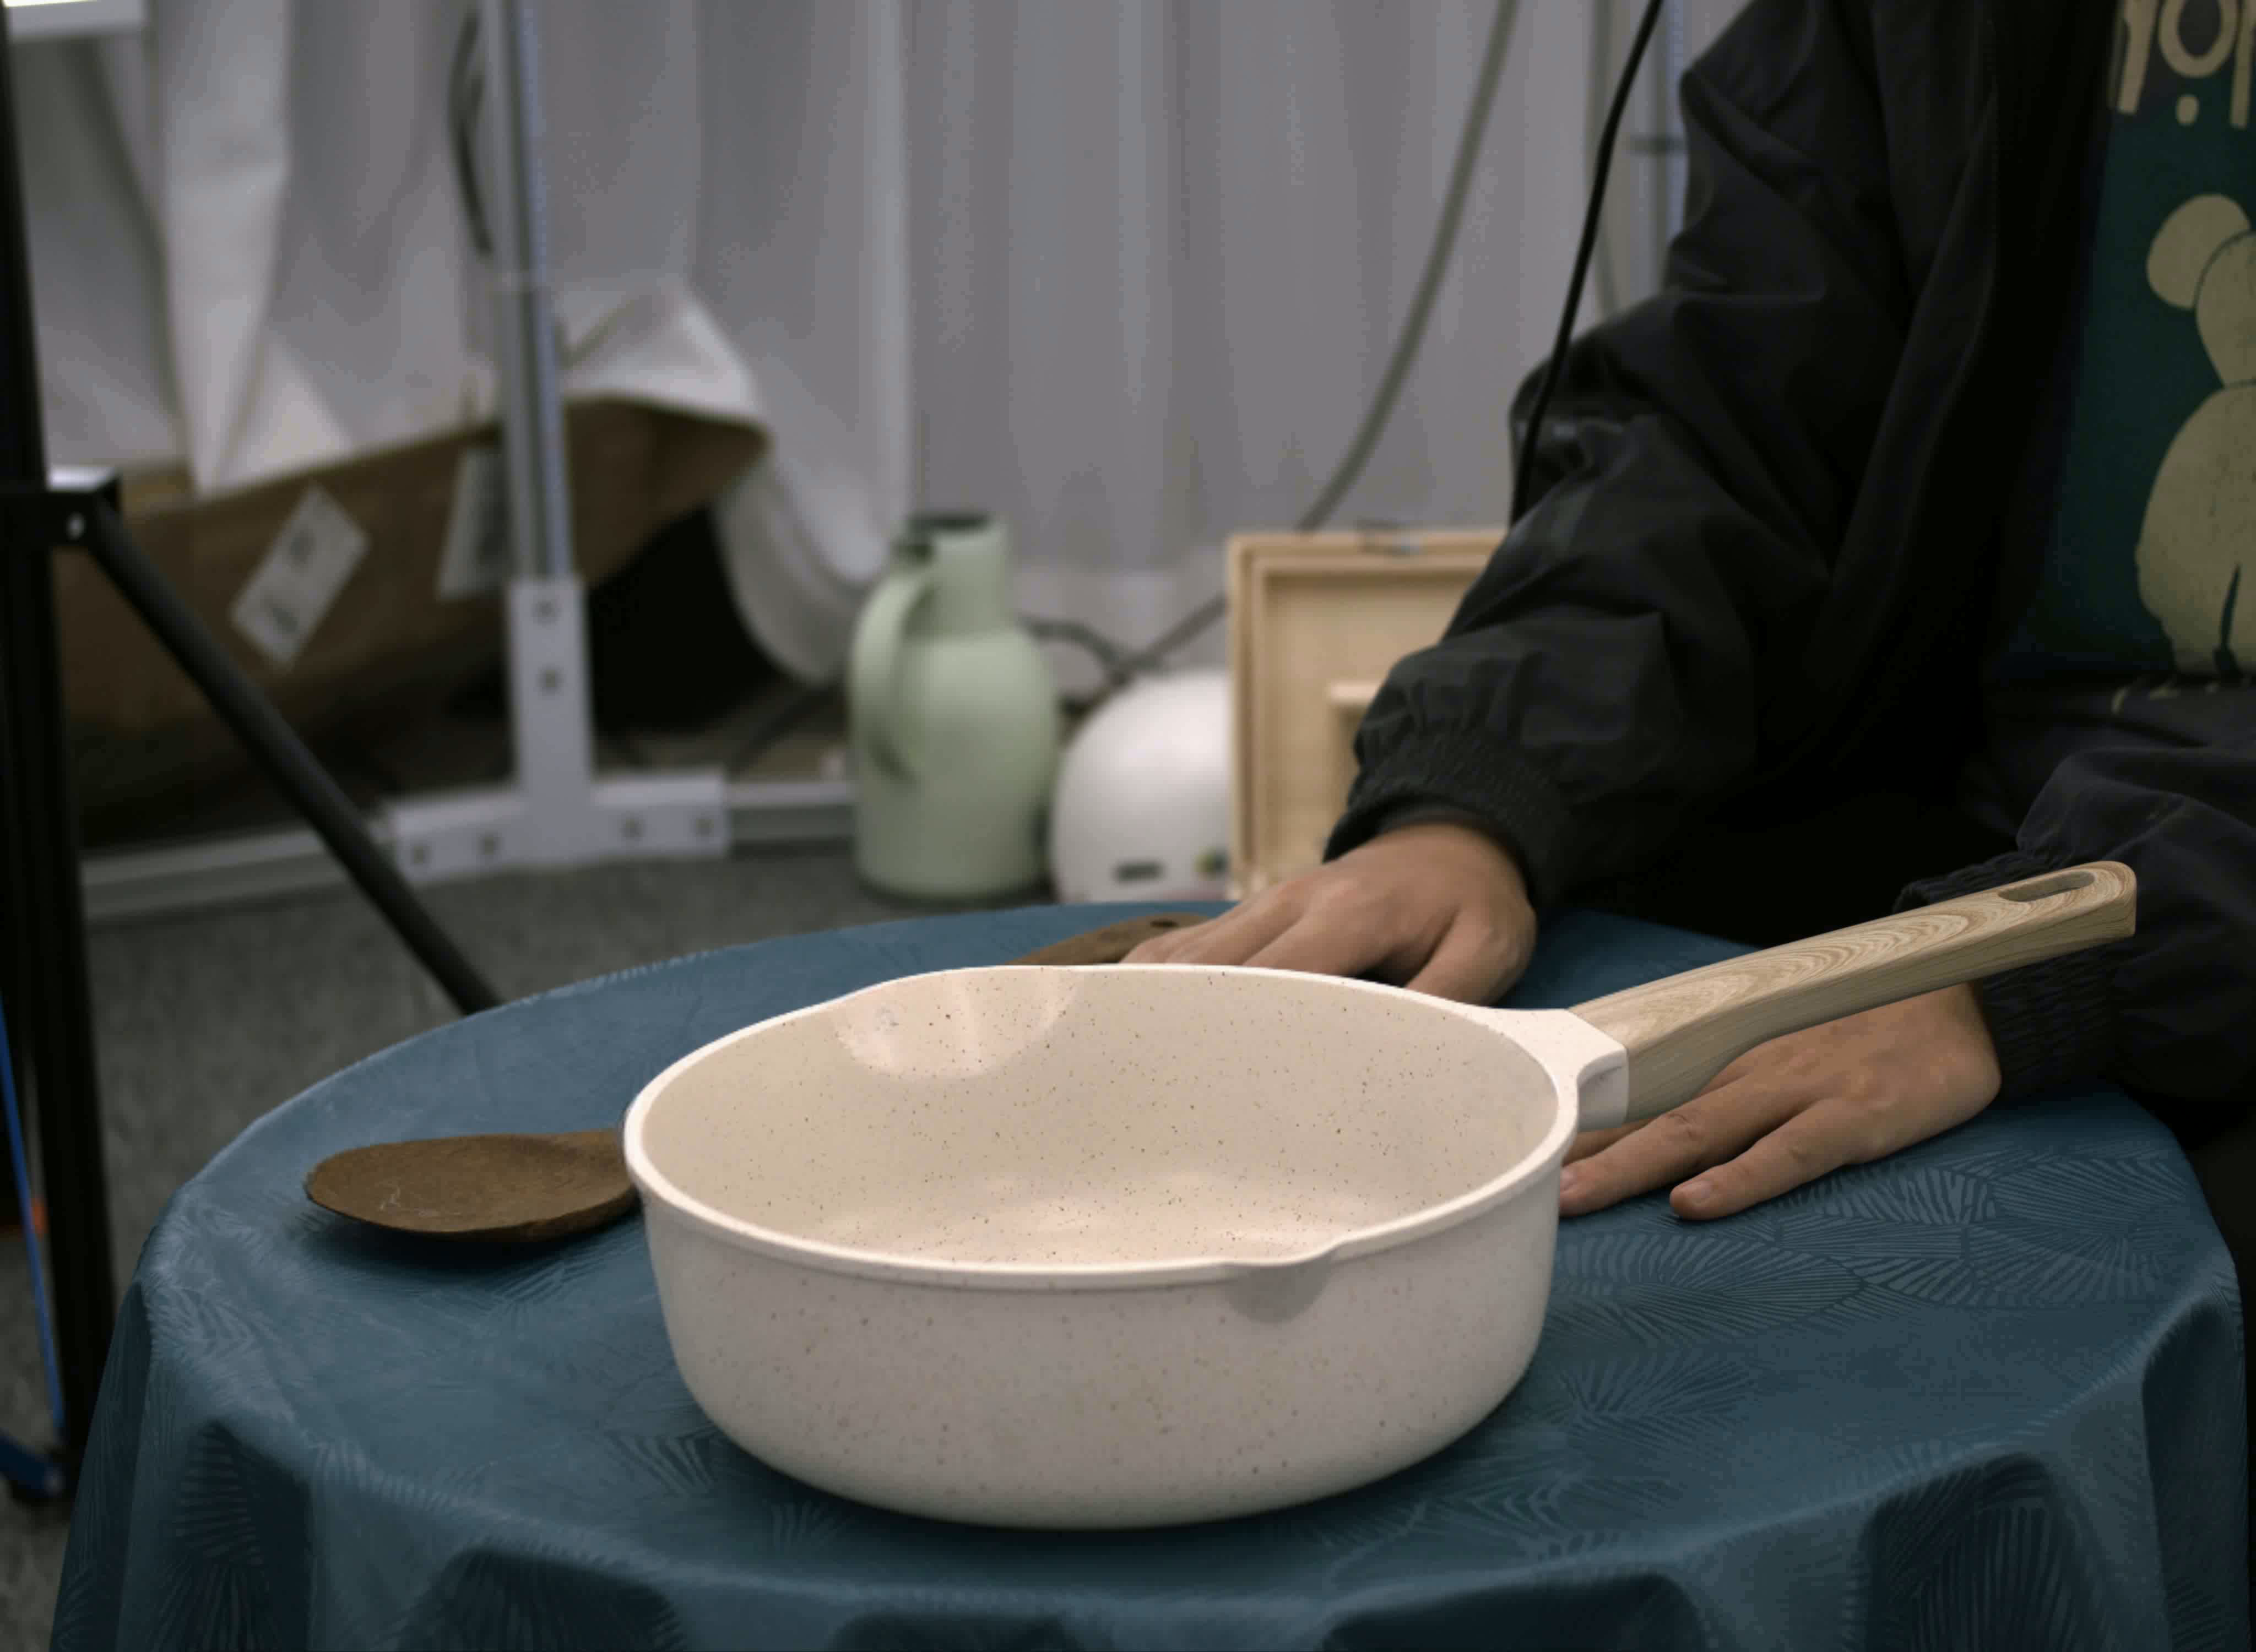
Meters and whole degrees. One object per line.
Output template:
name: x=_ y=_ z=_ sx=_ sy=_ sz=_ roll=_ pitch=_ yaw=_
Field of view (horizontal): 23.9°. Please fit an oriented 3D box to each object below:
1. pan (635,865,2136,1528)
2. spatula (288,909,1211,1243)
pan: x=0.083 y=0.092 z=1.417 sx=0.427 sy=0.102 sz=0.268 roll=-8 pitch=15 yaw=-19
spatula: x=-0.099 y=0.073 z=1.671 sx=0.098 sy=0.016 sz=0.377 roll=12 pitch=21 yaw=39
